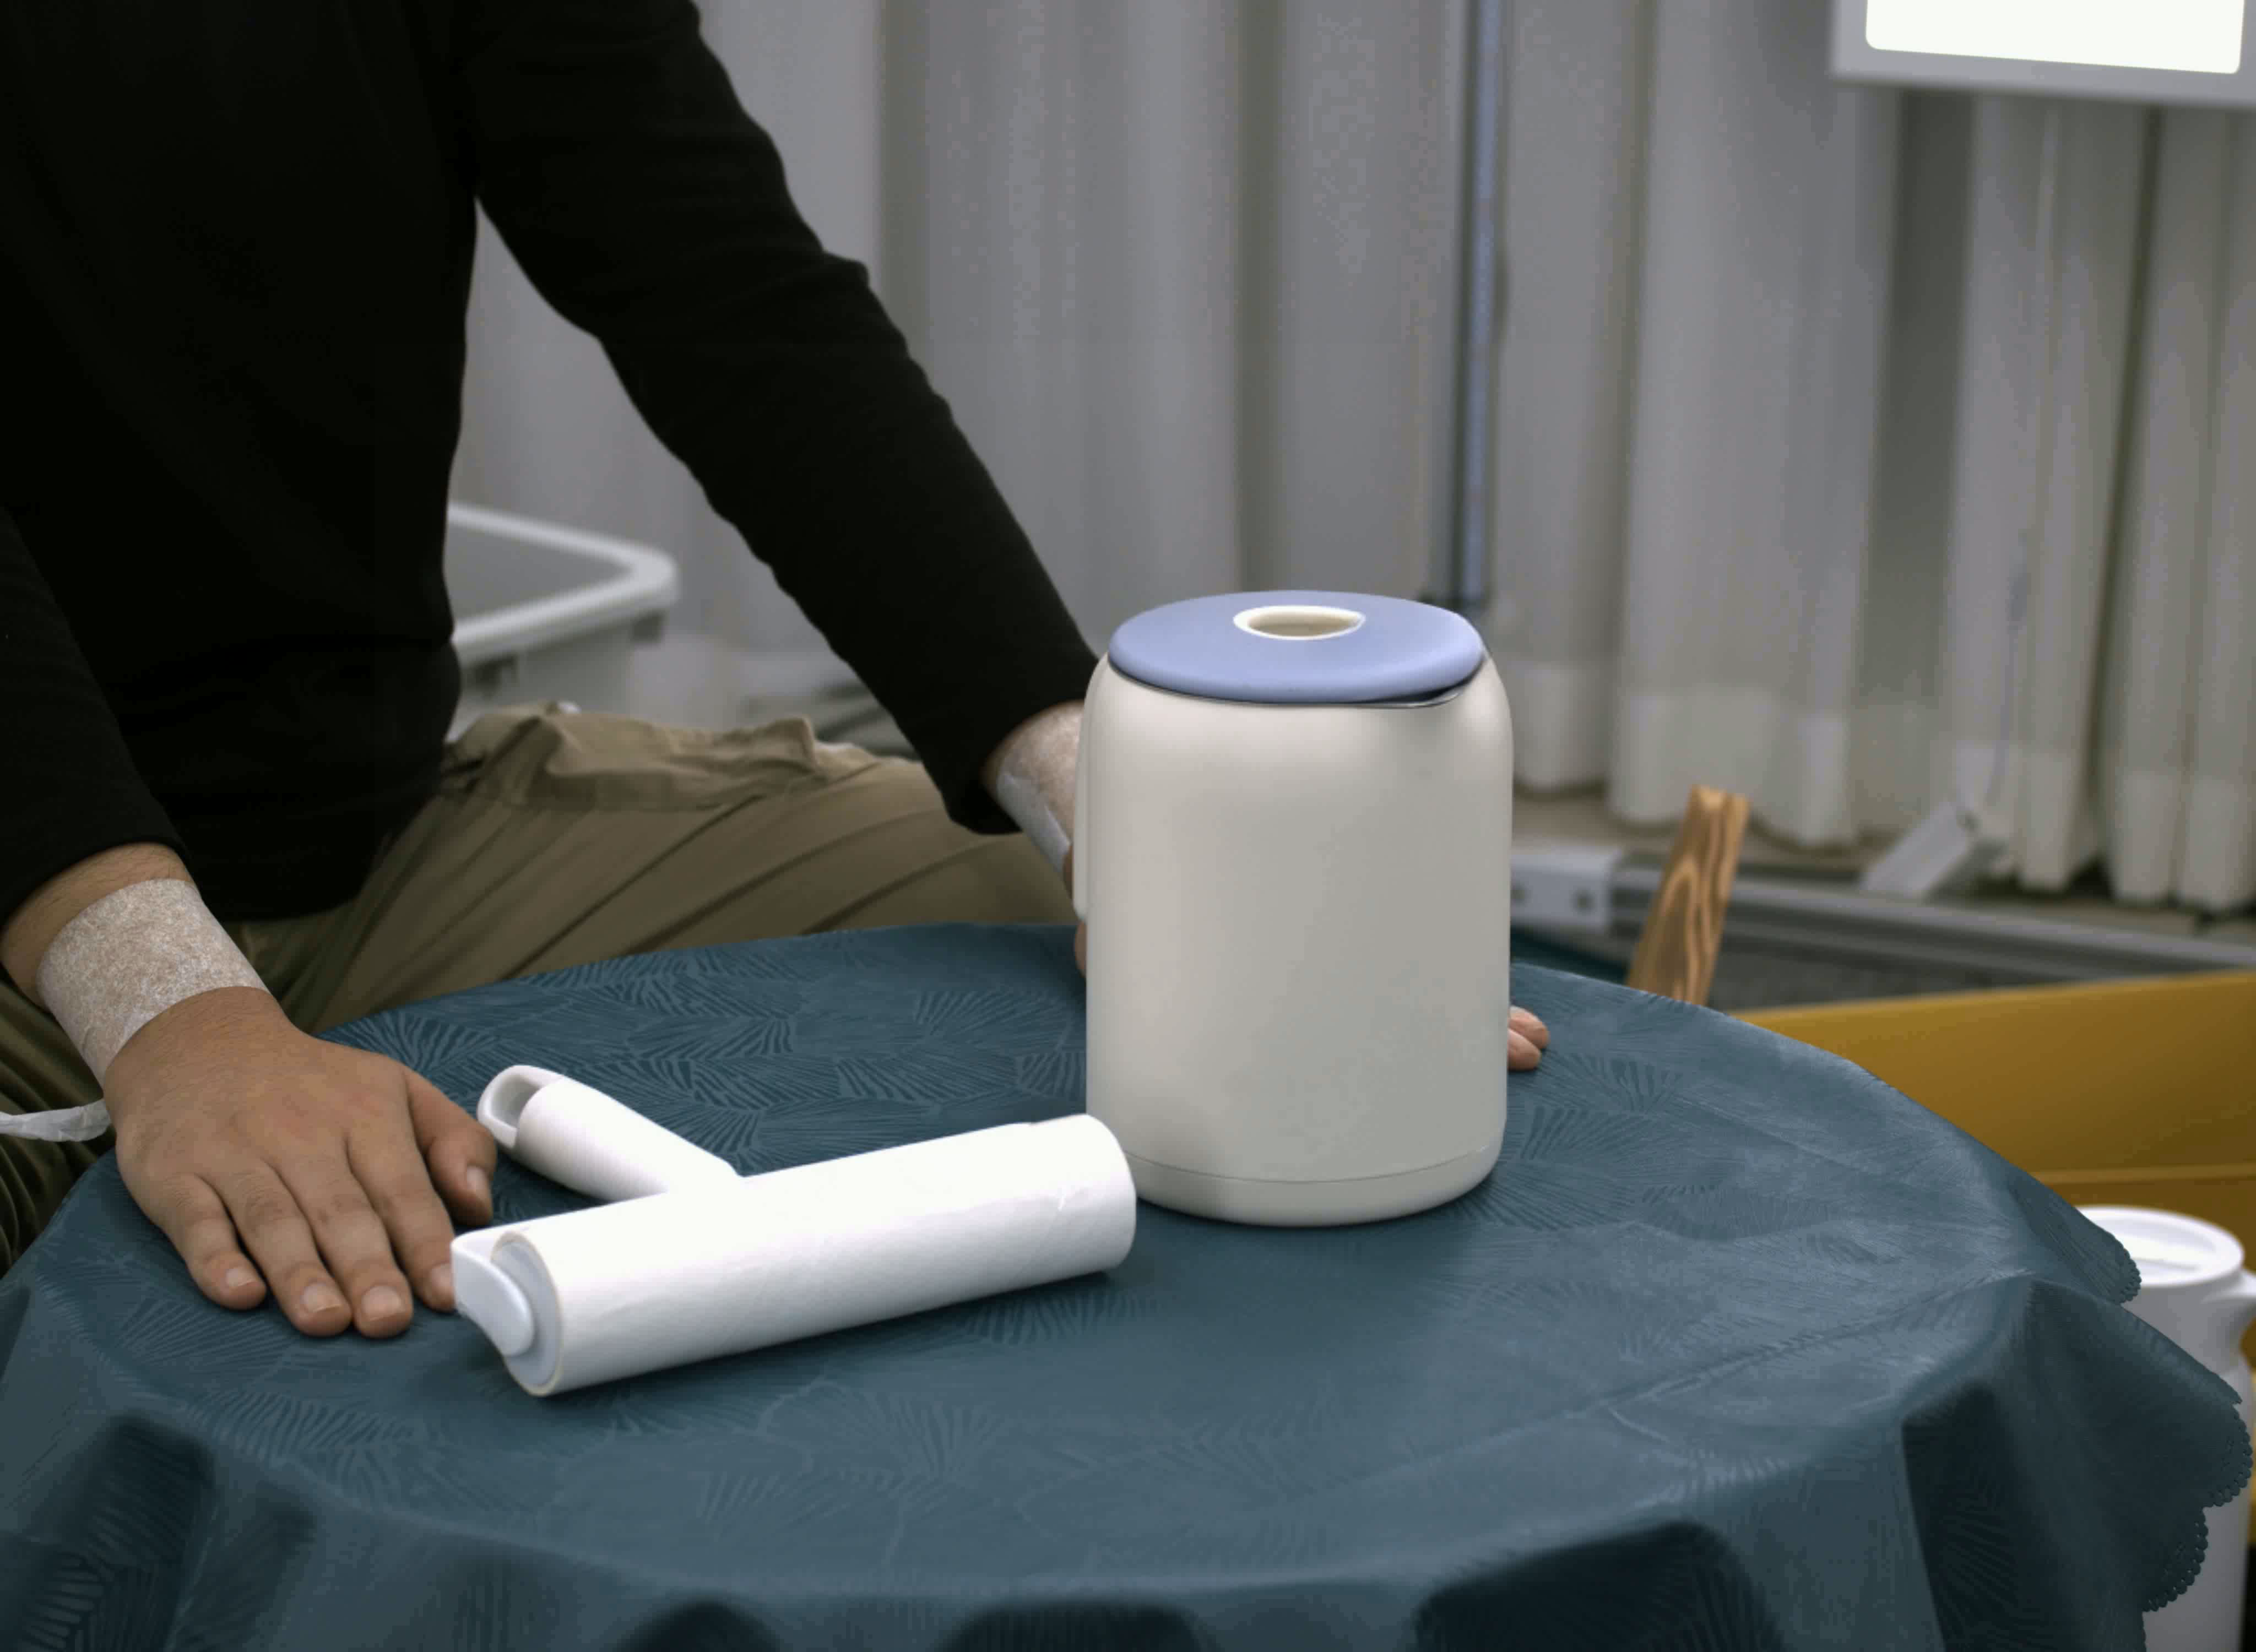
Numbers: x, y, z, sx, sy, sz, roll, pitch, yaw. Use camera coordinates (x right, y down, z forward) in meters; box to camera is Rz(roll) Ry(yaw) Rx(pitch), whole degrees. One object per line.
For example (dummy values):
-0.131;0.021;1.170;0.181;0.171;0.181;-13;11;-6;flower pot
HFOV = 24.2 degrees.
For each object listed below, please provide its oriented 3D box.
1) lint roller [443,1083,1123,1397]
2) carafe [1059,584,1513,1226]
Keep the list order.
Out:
-0.140;0.103;1.571;0.203;0.049;0.222;-11;18;-33;lint roller
0.038;0.018;1.639;0.133;0.184;0.188;-10;17;-34;carafe
